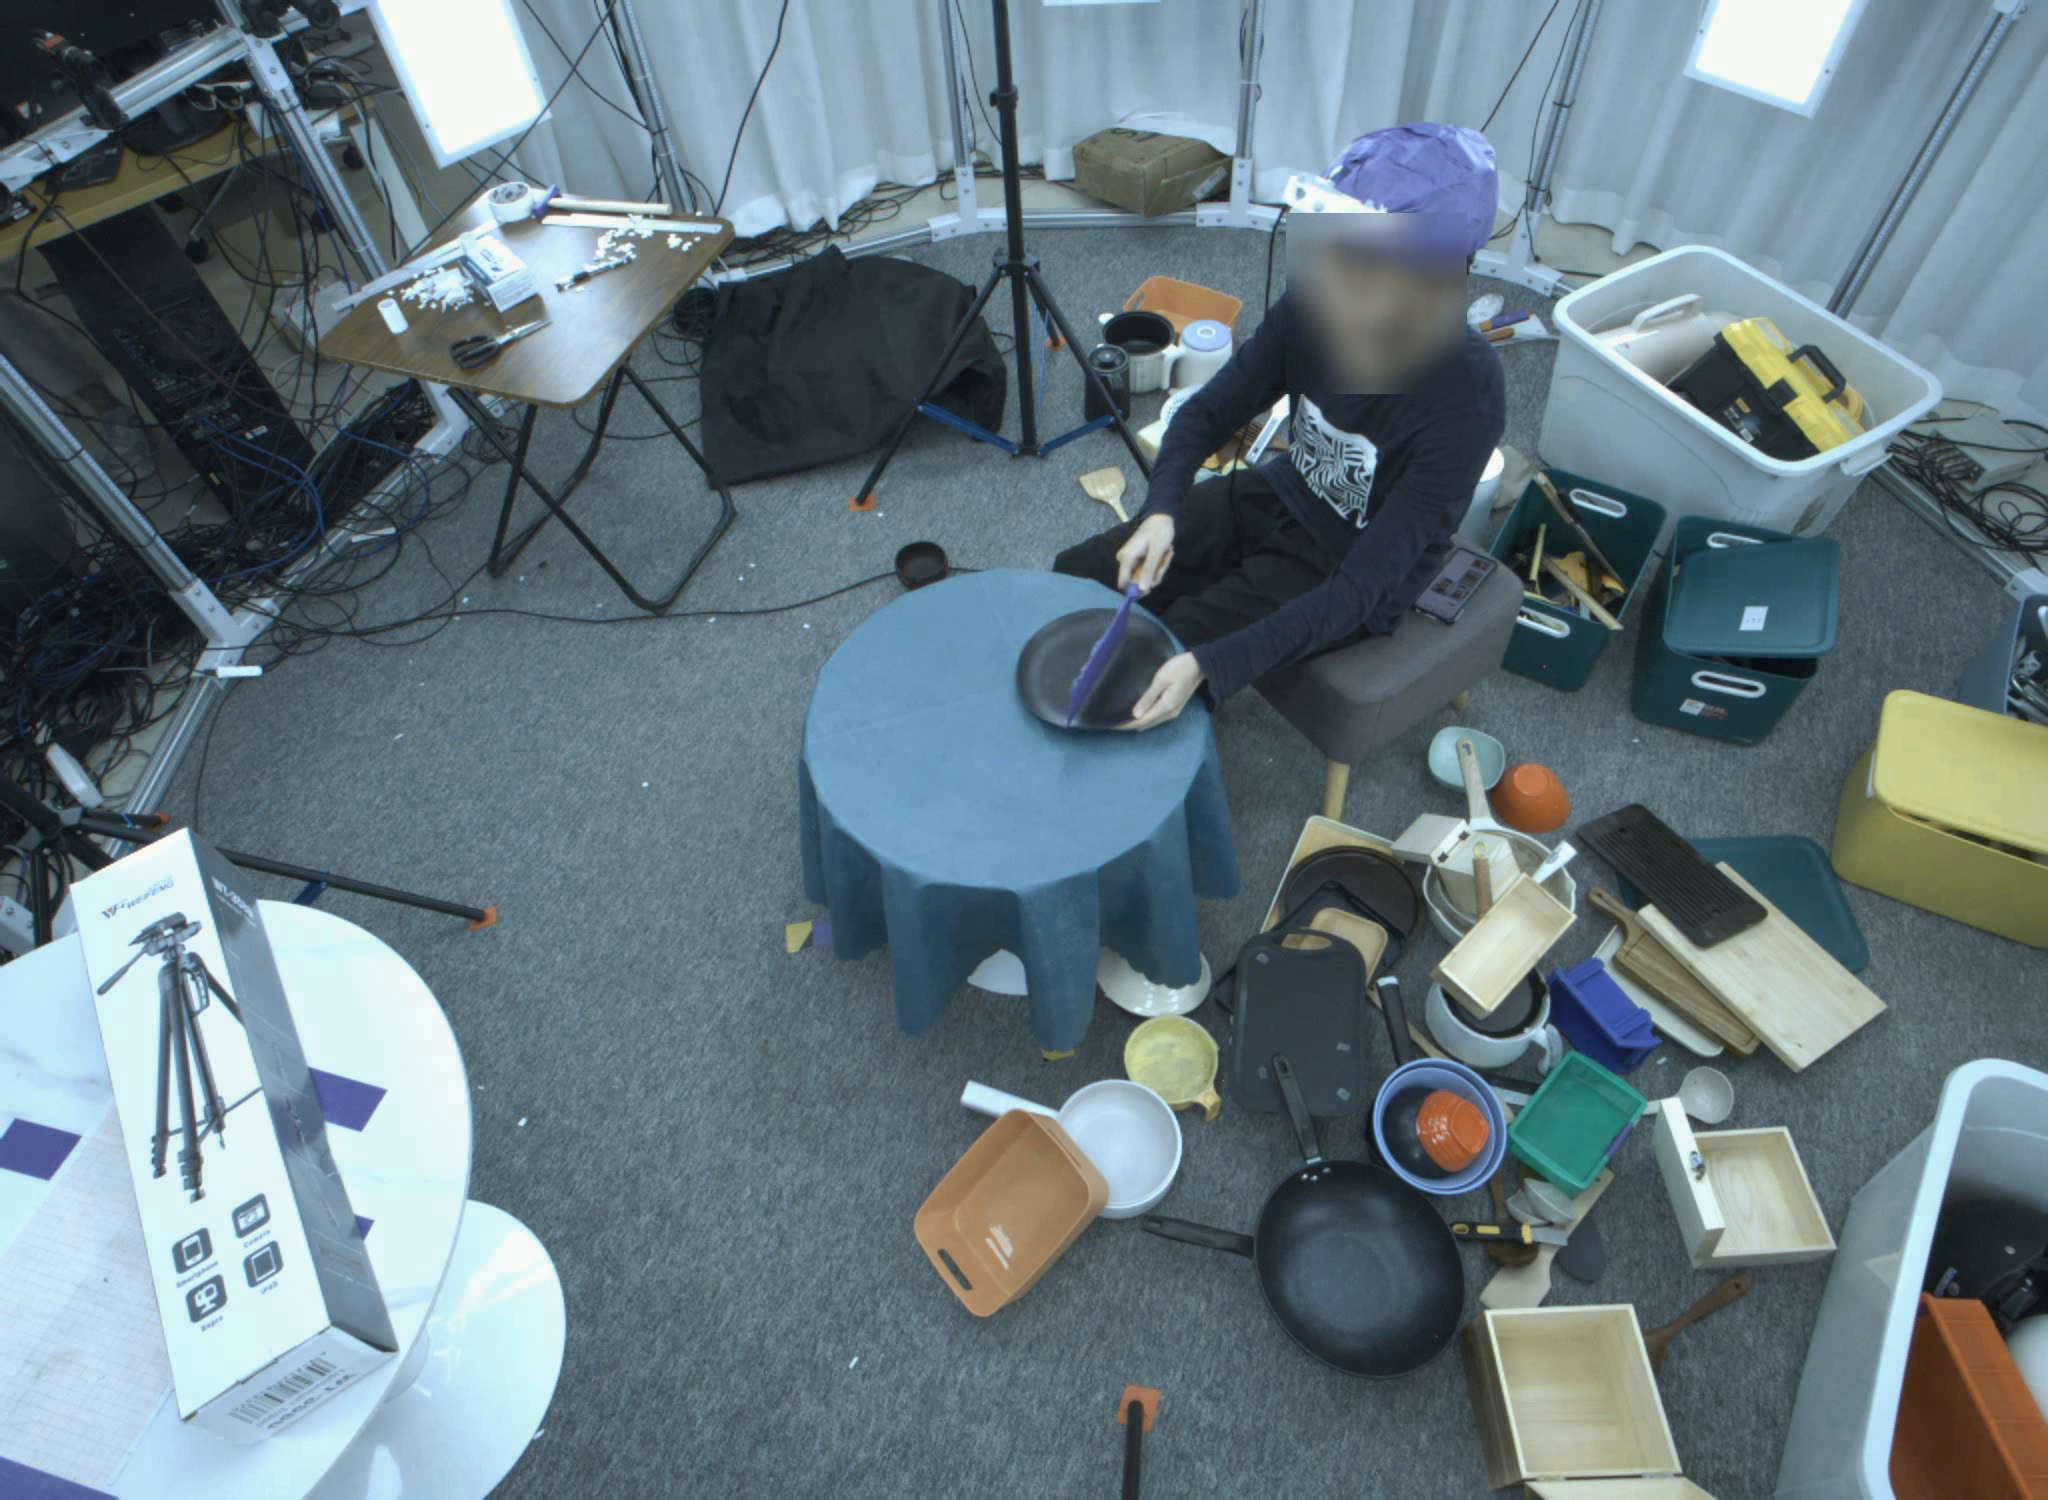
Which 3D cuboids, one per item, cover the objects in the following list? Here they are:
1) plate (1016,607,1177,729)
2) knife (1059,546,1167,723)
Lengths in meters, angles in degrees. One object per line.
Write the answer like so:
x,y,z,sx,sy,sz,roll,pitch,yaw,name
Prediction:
0.109,-0.121,1.852,0.243,0.024,0.242,-4,52,7,plate
0.127,-0.173,1.817,0.032,0.104,0.316,27,60,13,knife
